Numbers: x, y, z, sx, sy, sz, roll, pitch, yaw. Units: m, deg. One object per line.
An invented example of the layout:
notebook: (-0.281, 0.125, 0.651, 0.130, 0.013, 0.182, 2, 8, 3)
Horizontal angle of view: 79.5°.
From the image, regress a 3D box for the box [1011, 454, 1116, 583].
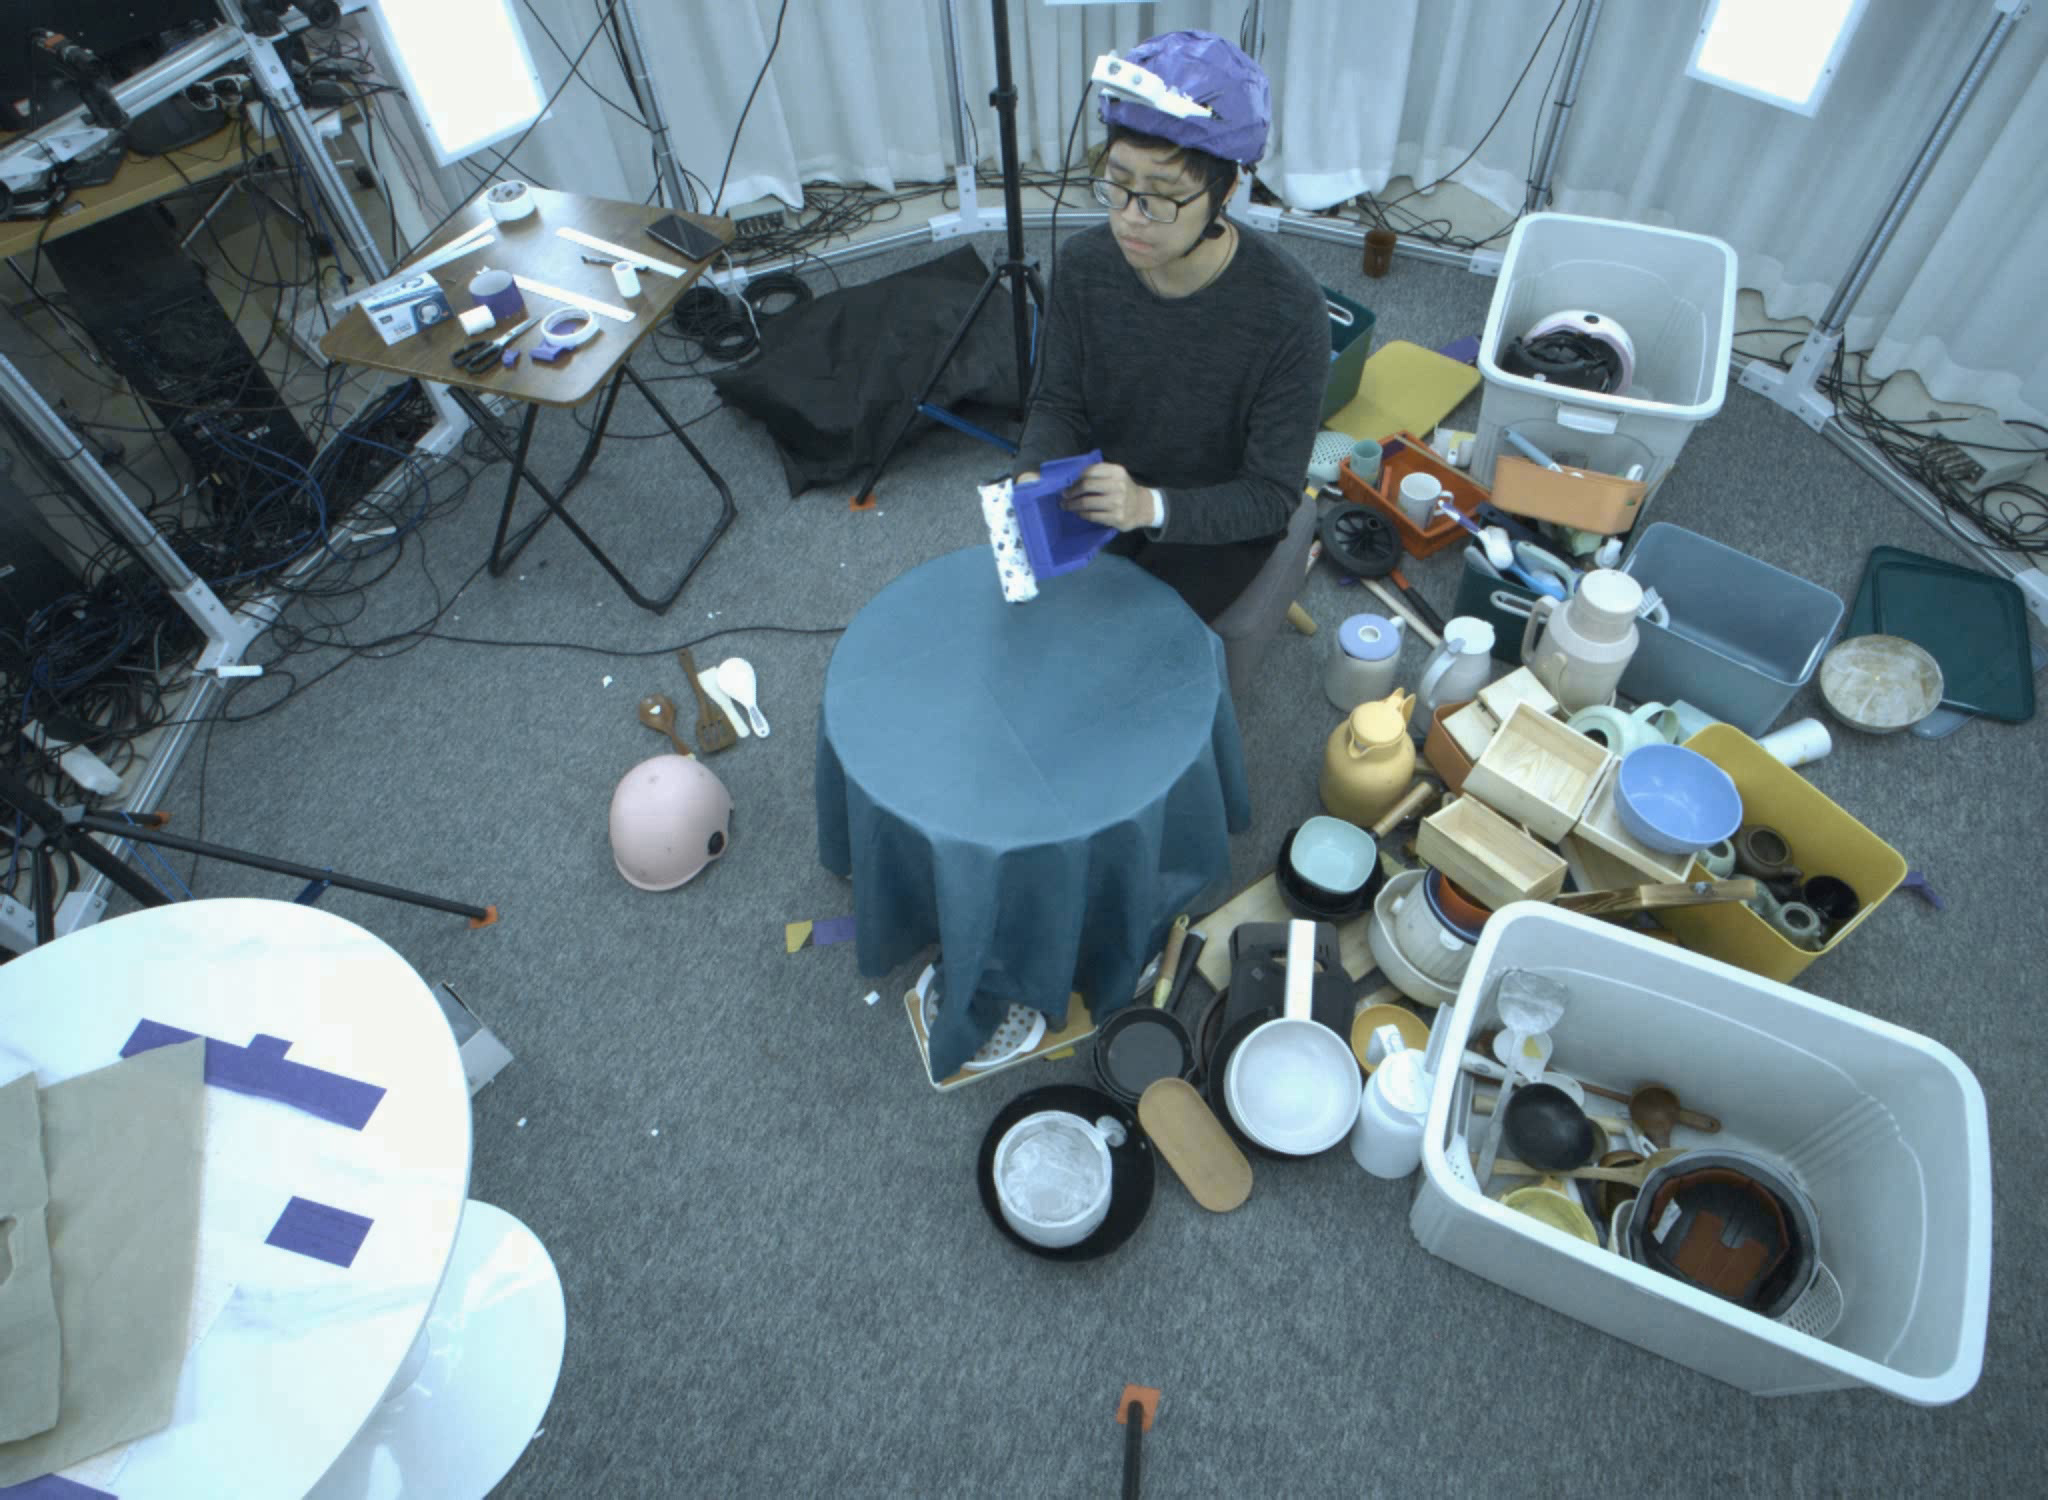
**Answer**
box: (0.050, -0.313, 1.655, 0.080, 0.126, 0.180, -4, 26, 24)

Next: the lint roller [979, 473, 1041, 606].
lint roller: (0.006, -0.321, 1.745, 0.050, 0.178, 0.247, -8, 20, 18)
